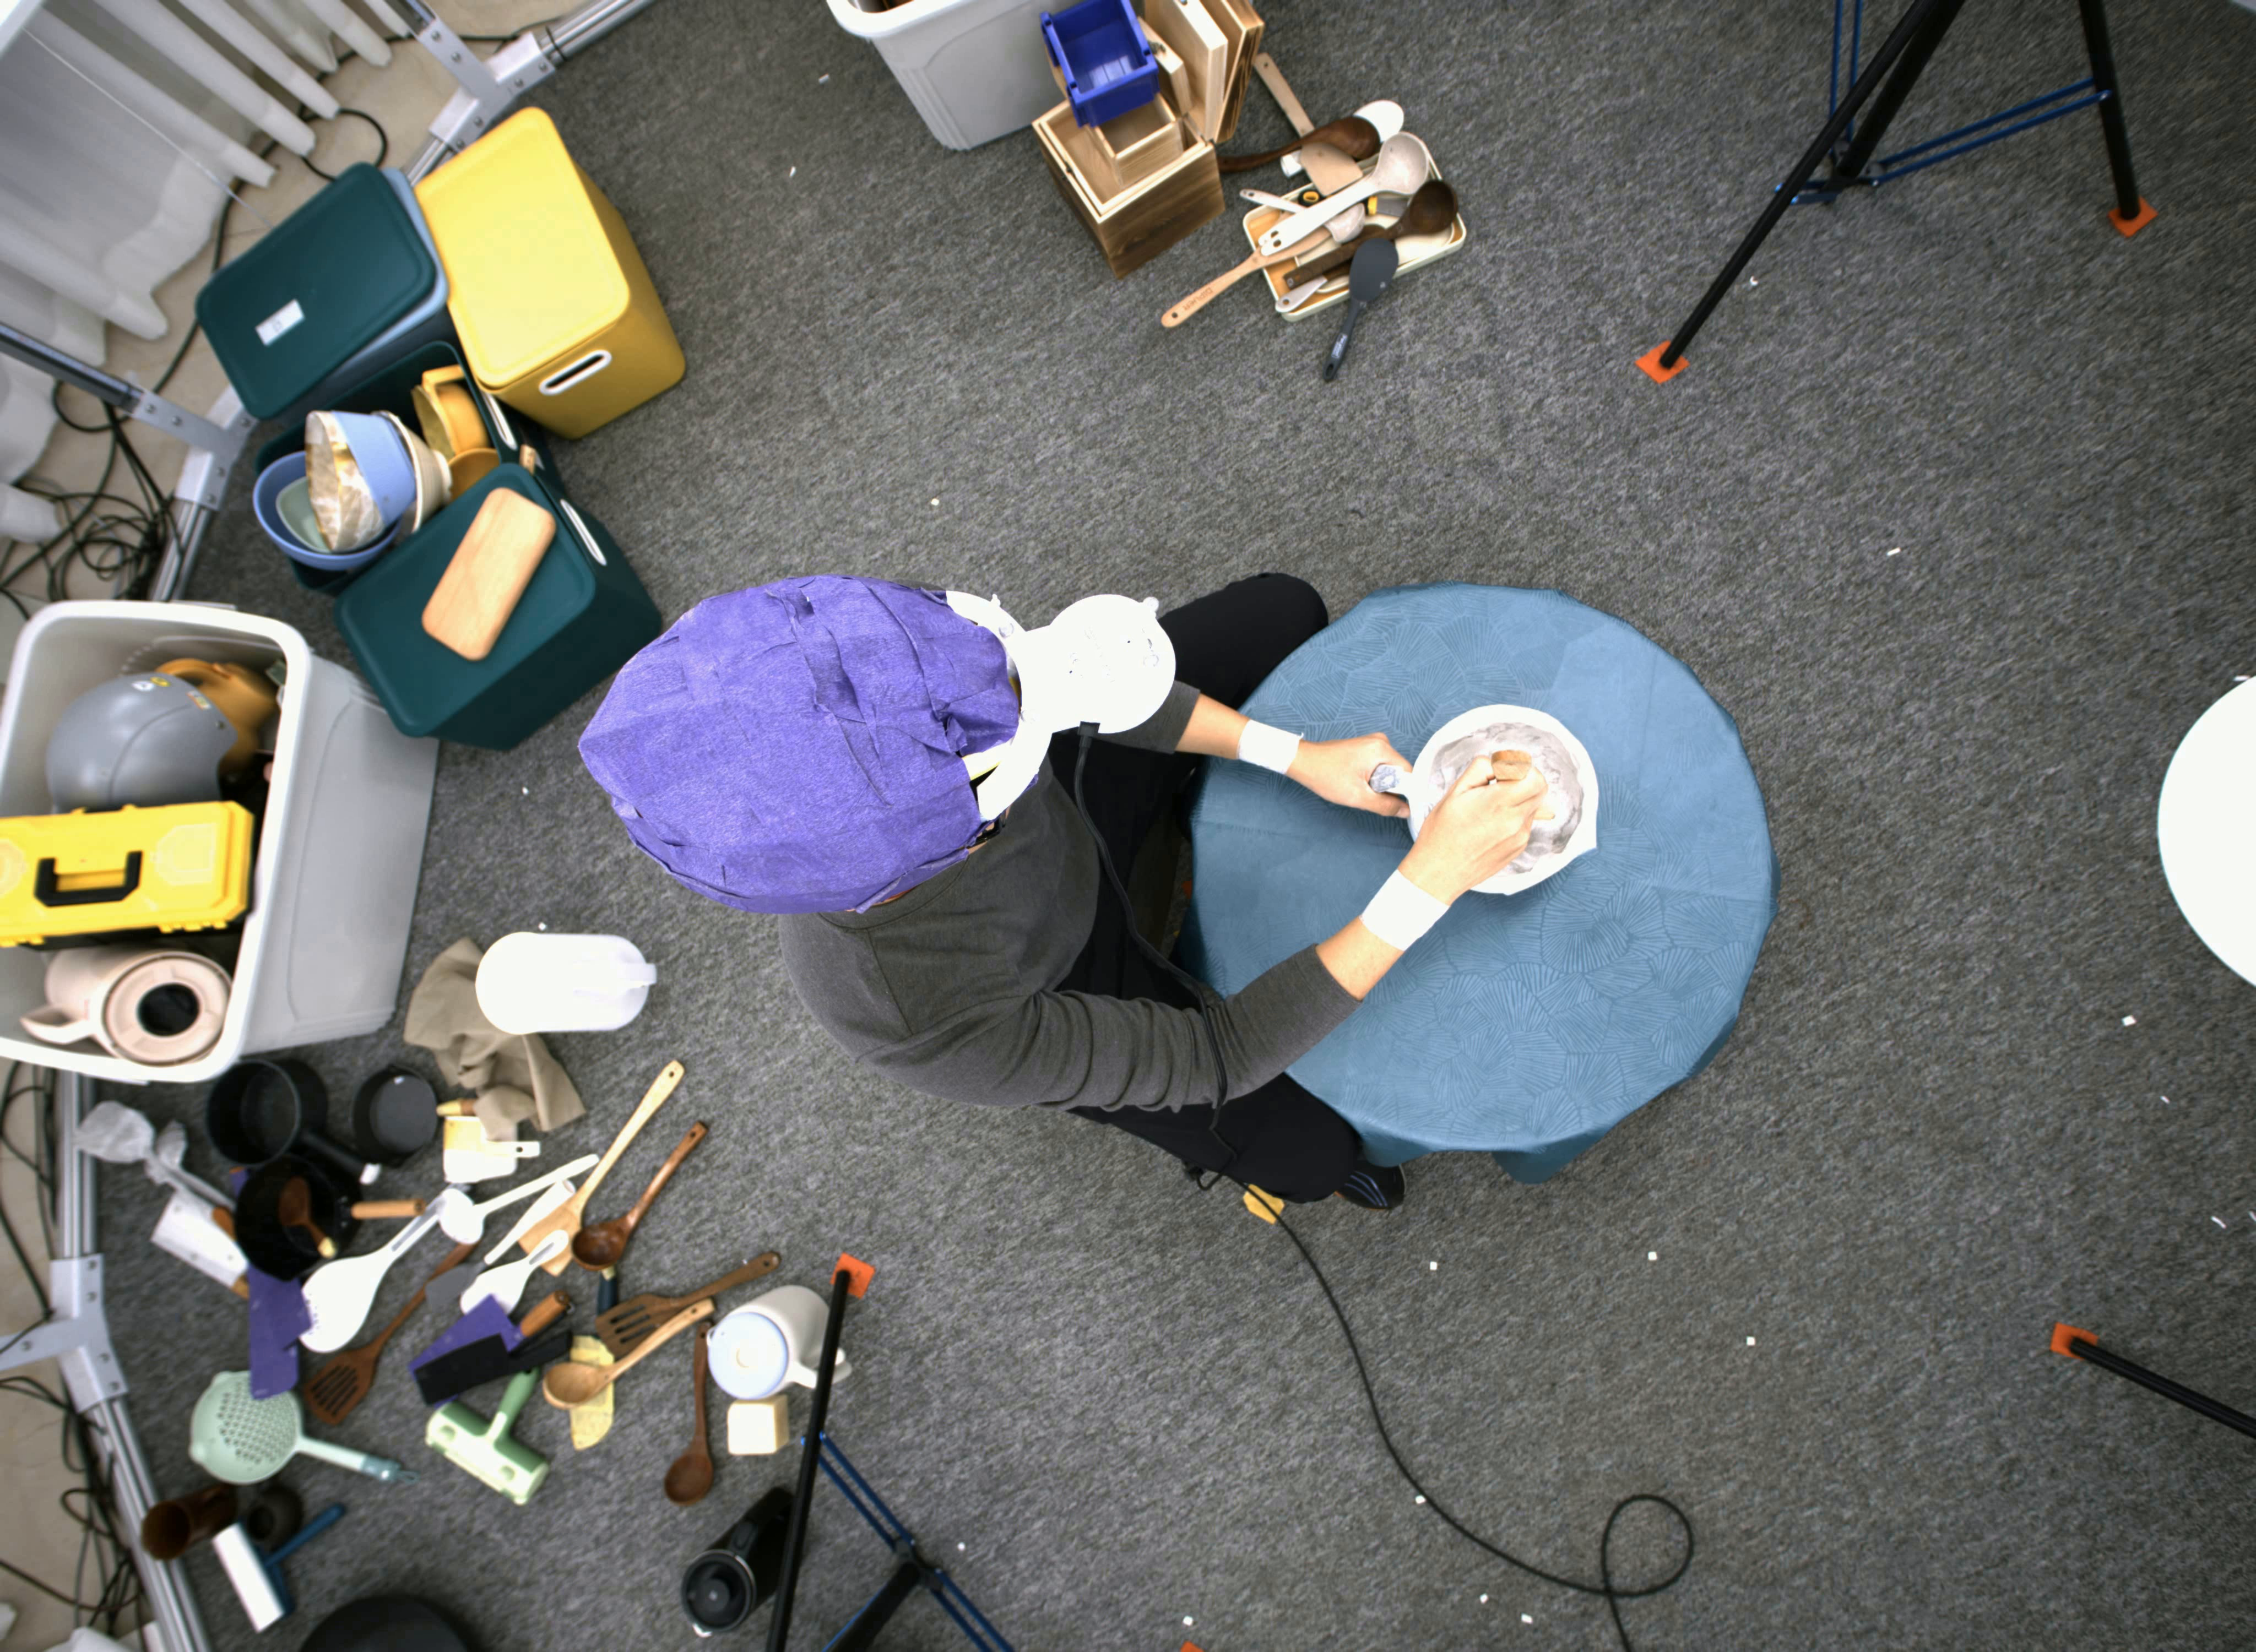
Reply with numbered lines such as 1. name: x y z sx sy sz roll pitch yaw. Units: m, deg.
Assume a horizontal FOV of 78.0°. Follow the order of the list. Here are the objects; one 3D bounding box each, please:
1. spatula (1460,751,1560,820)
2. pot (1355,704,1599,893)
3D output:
1. spatula: 0.336 -0.032 1.193 0.096 0.391 0.018 0 82 14
2. pot: 0.344 -0.029 1.382 0.234 0.137 0.178 10 87 11
